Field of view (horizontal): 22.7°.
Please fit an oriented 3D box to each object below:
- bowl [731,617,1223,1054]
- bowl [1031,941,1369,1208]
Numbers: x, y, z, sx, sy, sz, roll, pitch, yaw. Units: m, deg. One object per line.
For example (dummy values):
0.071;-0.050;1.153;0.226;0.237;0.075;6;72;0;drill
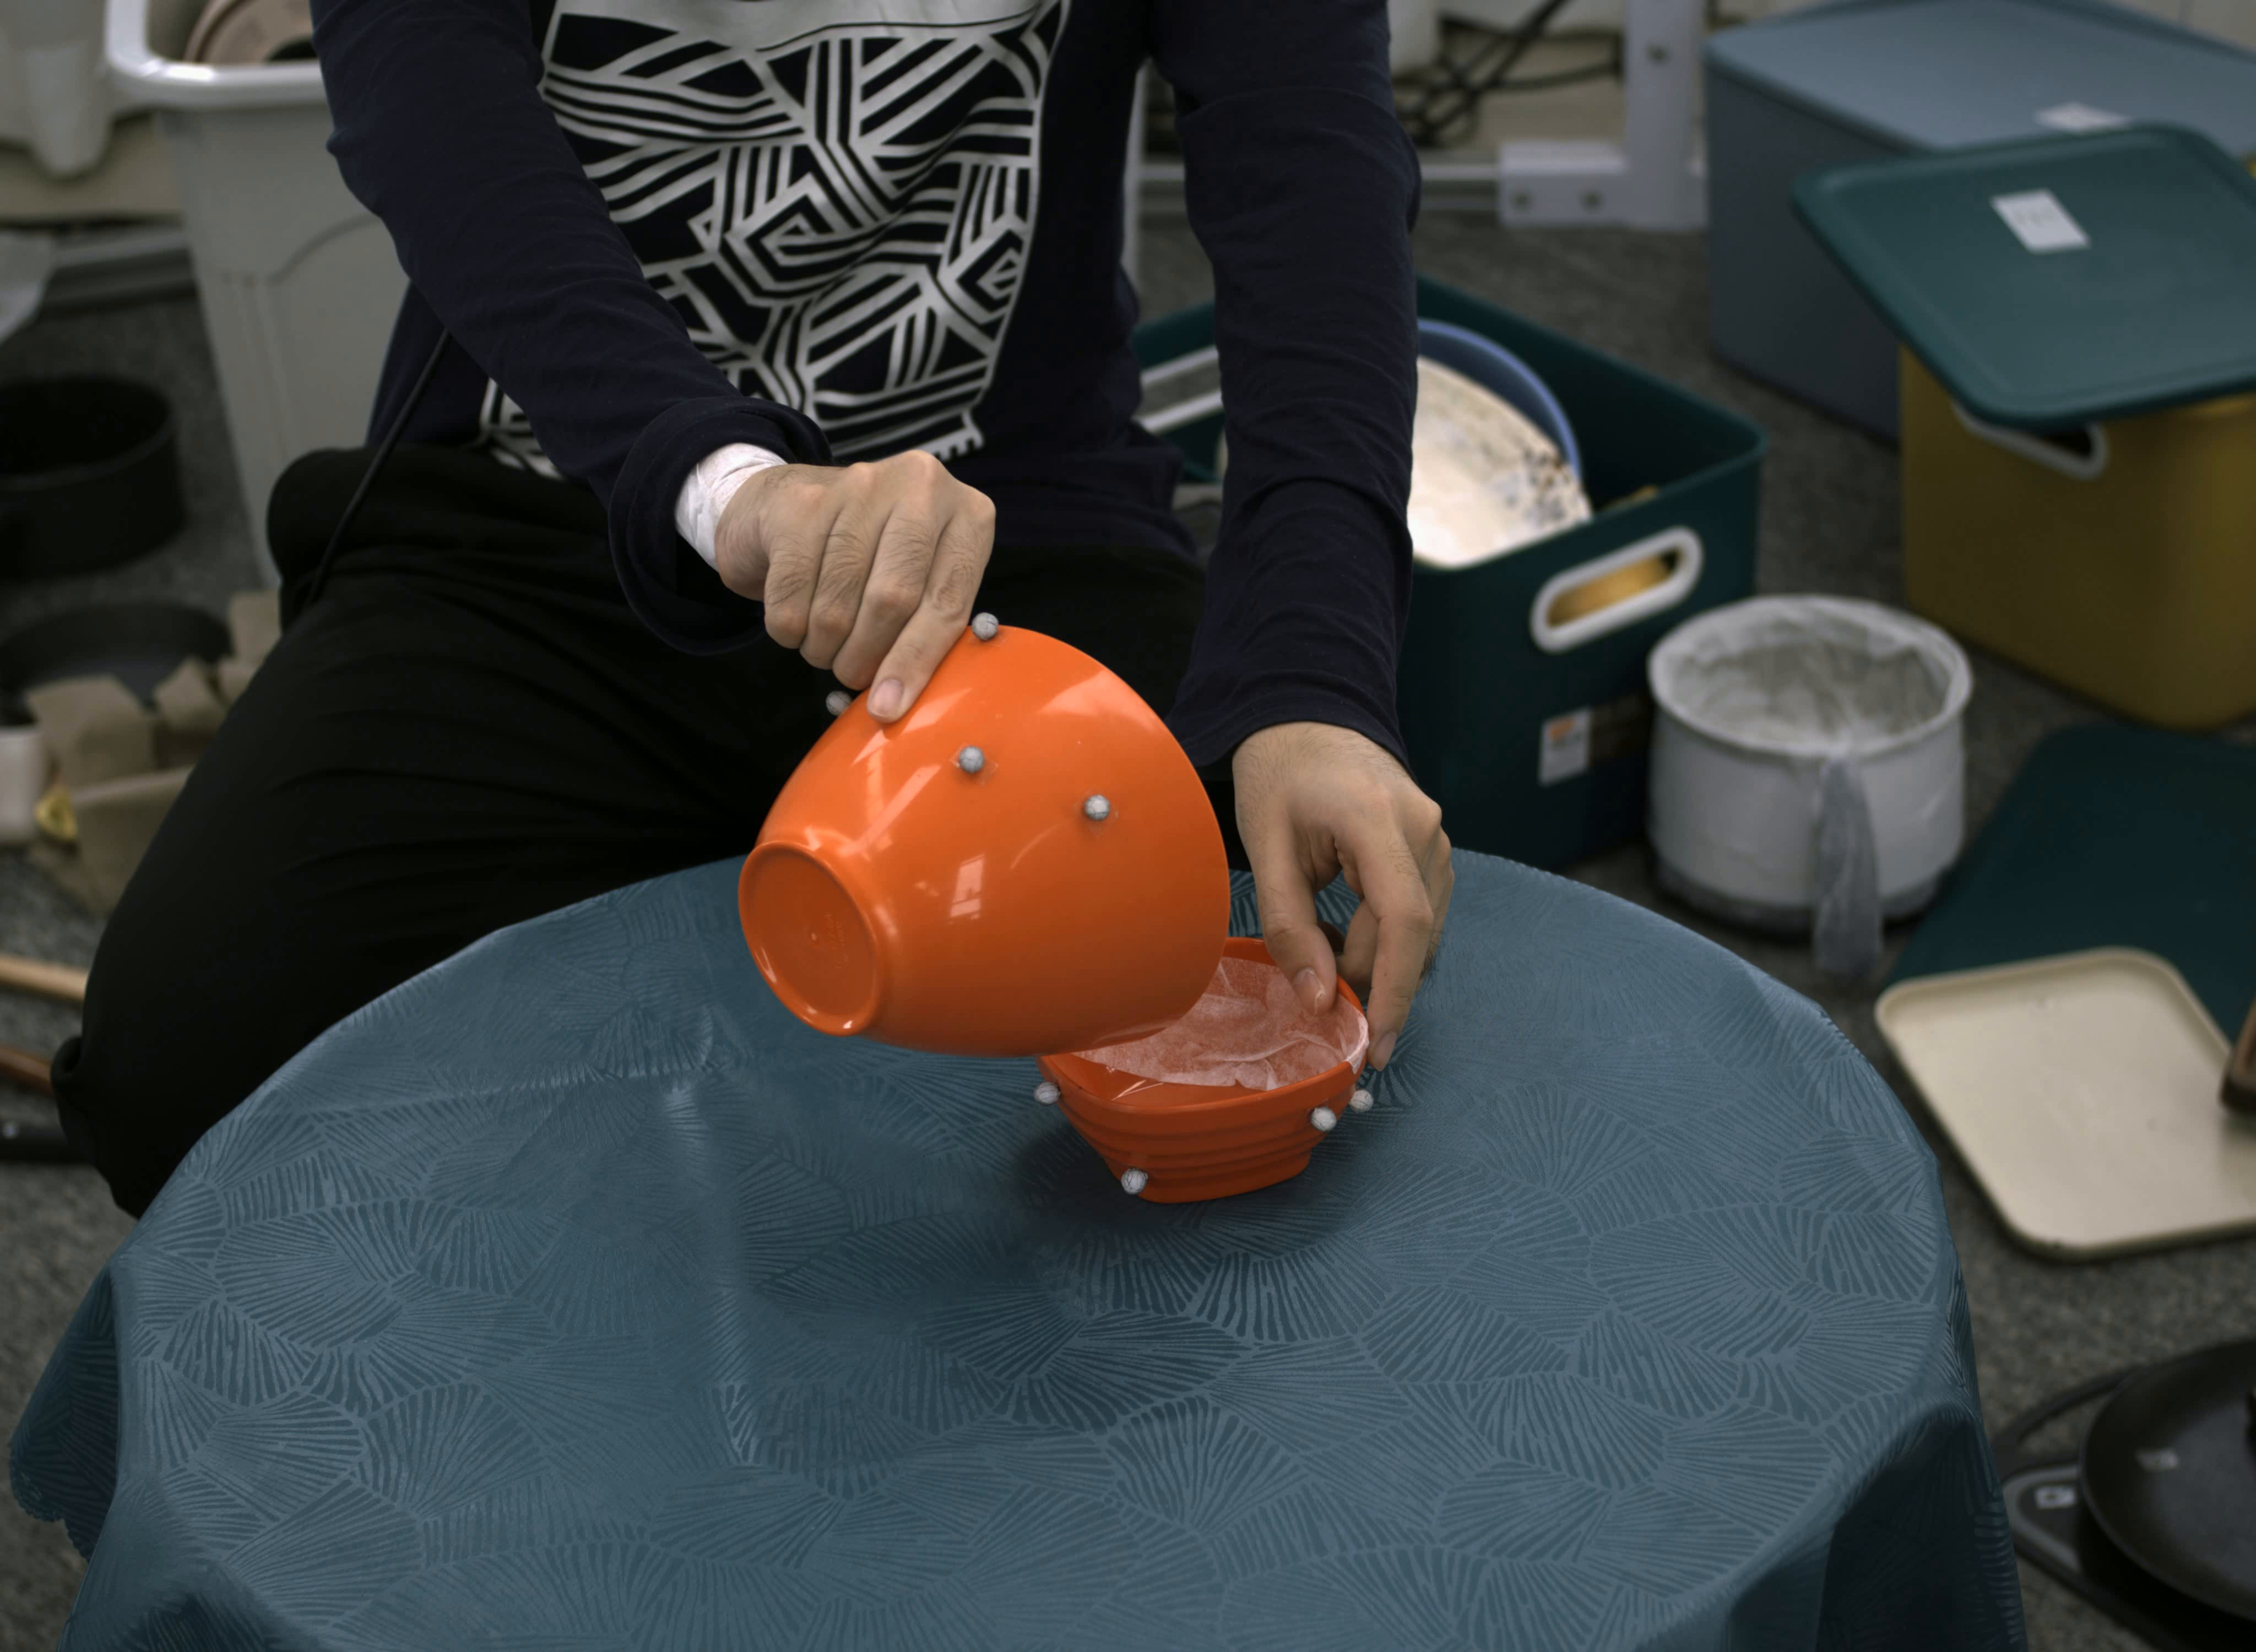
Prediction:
-0.059;0.017;1.780;0.148;0.146;0.106;22;37;39;bowl
0.025;0.087;1.875;0.118;0.051;0.120;-4;26;2;bowl
